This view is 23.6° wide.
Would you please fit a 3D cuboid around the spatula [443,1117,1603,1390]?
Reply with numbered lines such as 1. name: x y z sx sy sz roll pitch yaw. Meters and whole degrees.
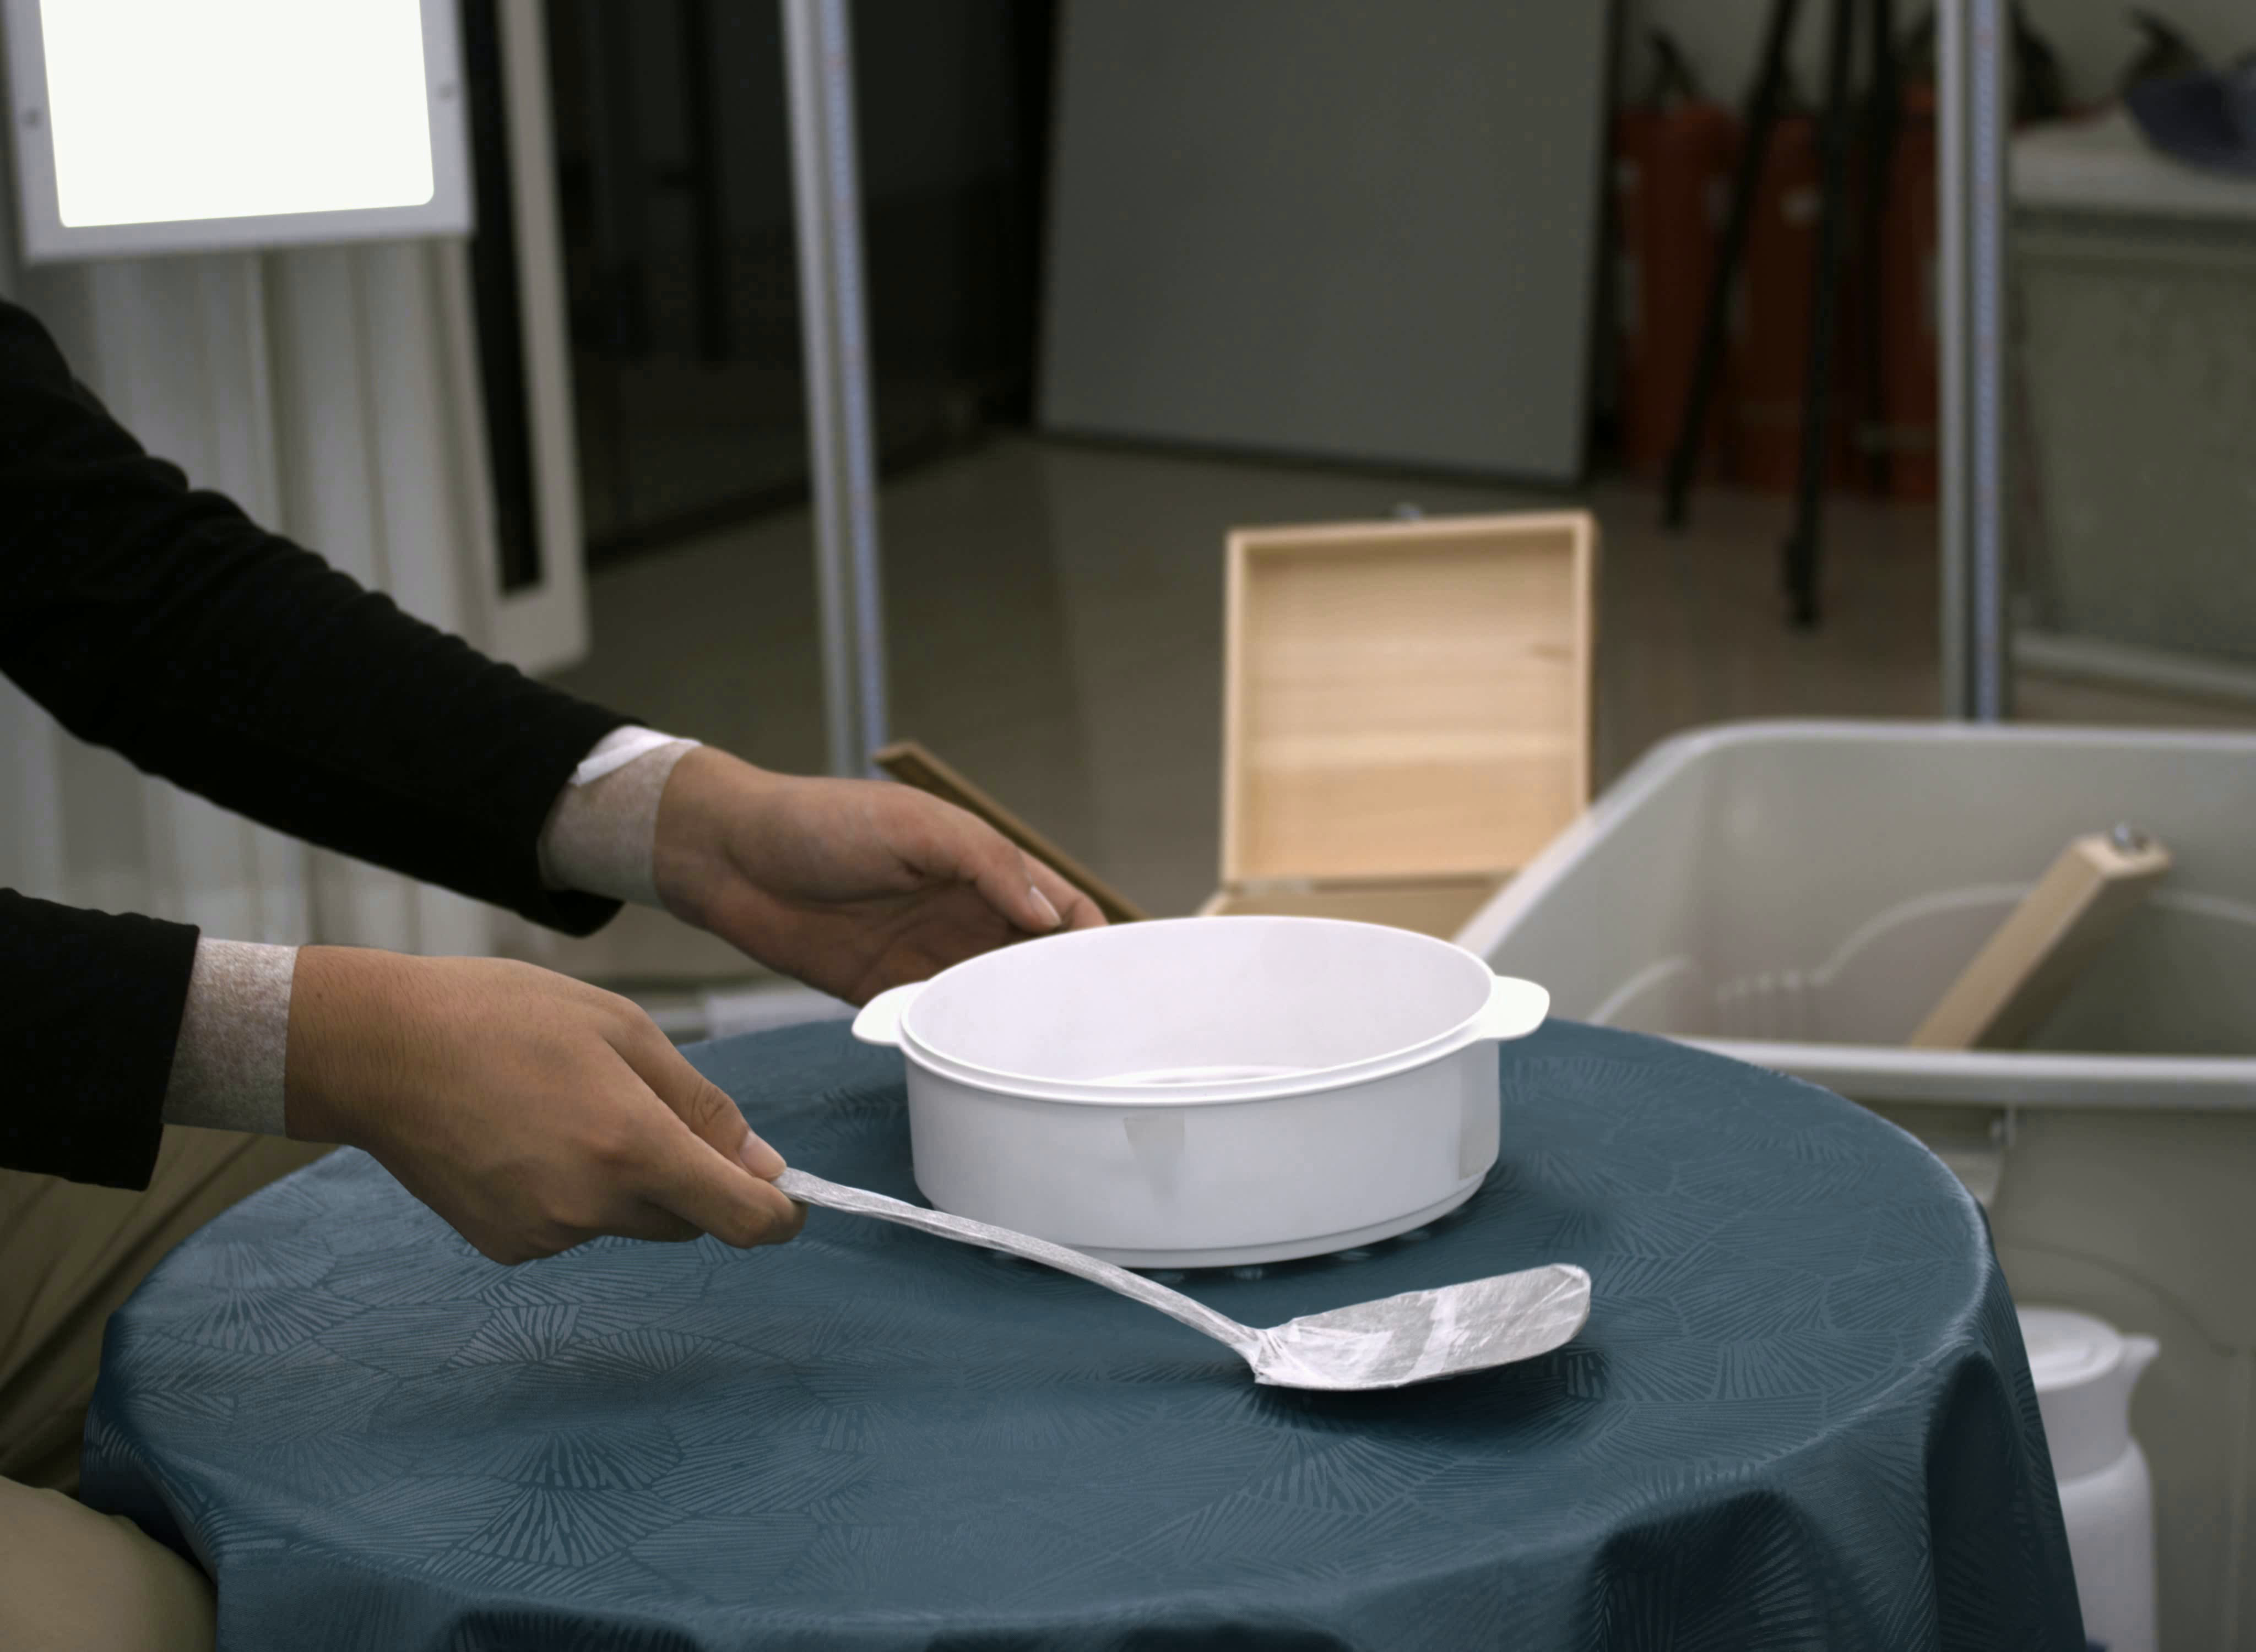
1. spatula: -0.039 0.118 1.610 0.363 0.045 0.098 14 16 13

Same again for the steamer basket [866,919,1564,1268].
1. steamer basket: 0.030 0.086 1.755 0.229 0.070 0.201 -2 13 13
